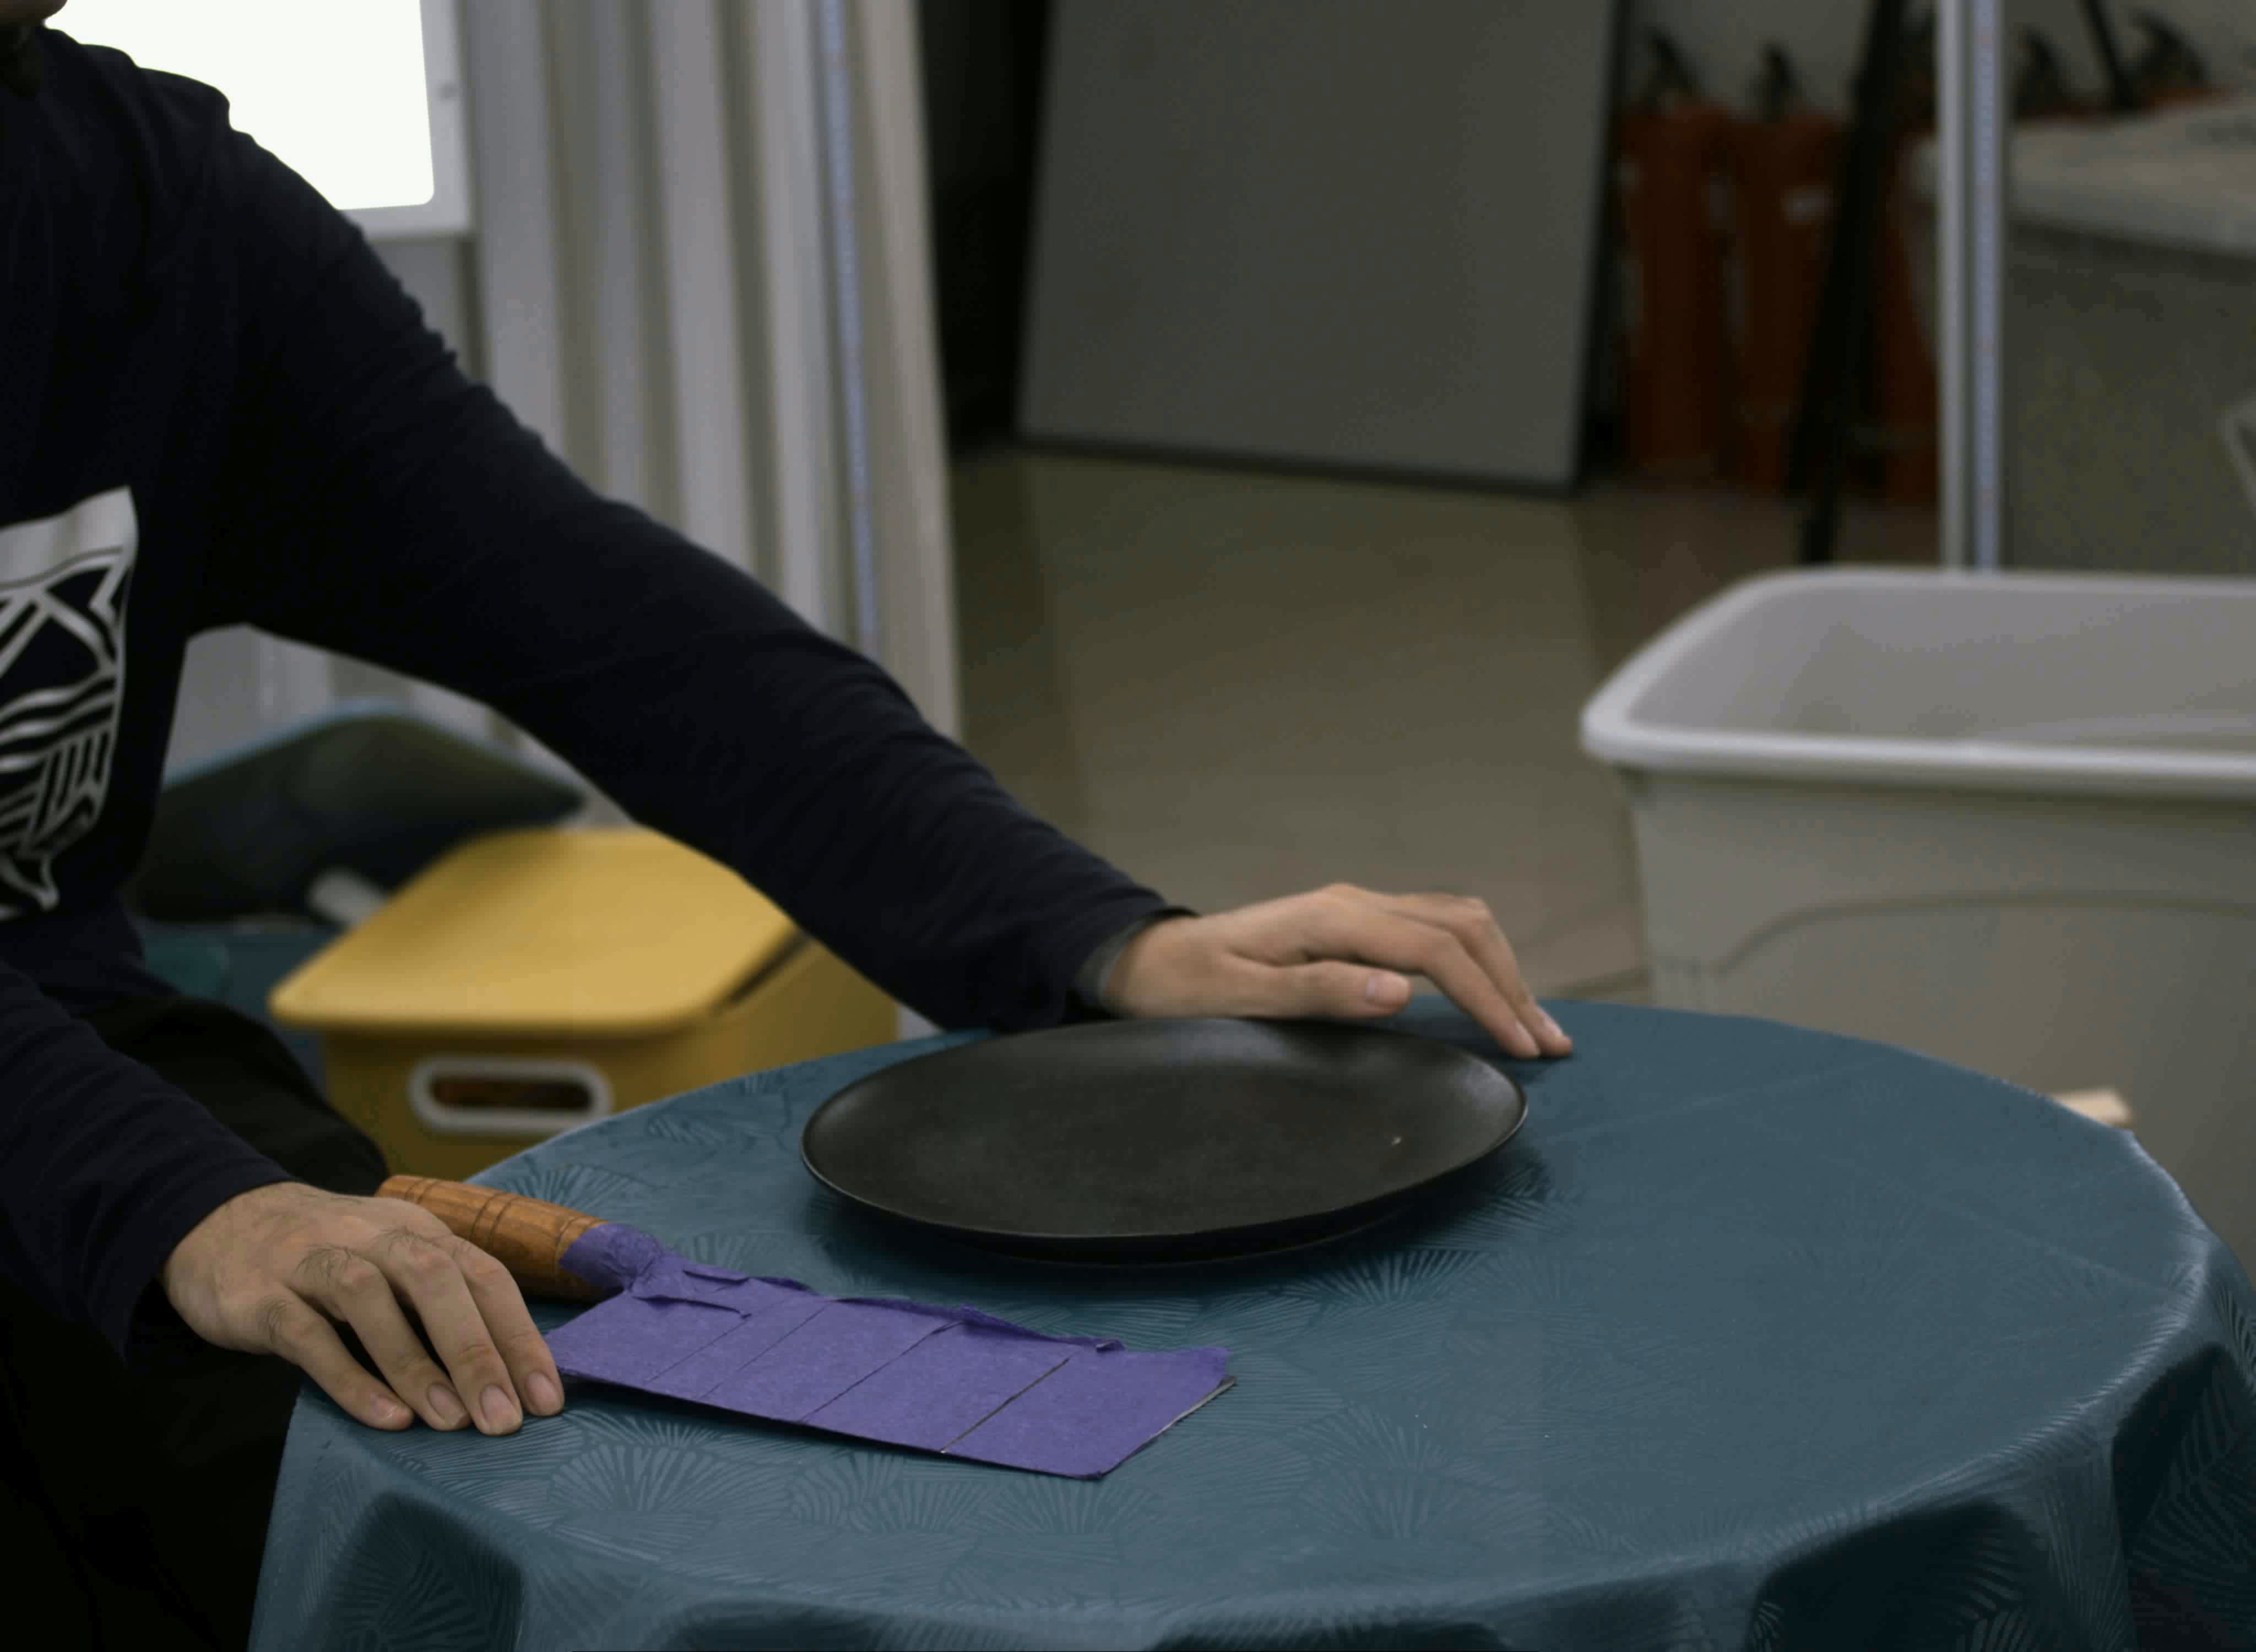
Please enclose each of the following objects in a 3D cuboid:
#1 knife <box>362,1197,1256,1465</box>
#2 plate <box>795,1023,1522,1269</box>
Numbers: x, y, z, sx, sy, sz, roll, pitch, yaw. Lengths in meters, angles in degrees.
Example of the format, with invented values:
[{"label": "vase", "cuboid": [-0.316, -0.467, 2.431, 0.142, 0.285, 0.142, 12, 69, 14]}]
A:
[{"label": "knife", "cuboid": [-0.118, 0.151, 1.630, 0.316, 0.032, 0.102, 5, 16, 31]}, {"label": "plate", "cuboid": [0.011, 0.108, 1.781, 0.241, 0.024, 0.245, -4, 13, 0]}]
